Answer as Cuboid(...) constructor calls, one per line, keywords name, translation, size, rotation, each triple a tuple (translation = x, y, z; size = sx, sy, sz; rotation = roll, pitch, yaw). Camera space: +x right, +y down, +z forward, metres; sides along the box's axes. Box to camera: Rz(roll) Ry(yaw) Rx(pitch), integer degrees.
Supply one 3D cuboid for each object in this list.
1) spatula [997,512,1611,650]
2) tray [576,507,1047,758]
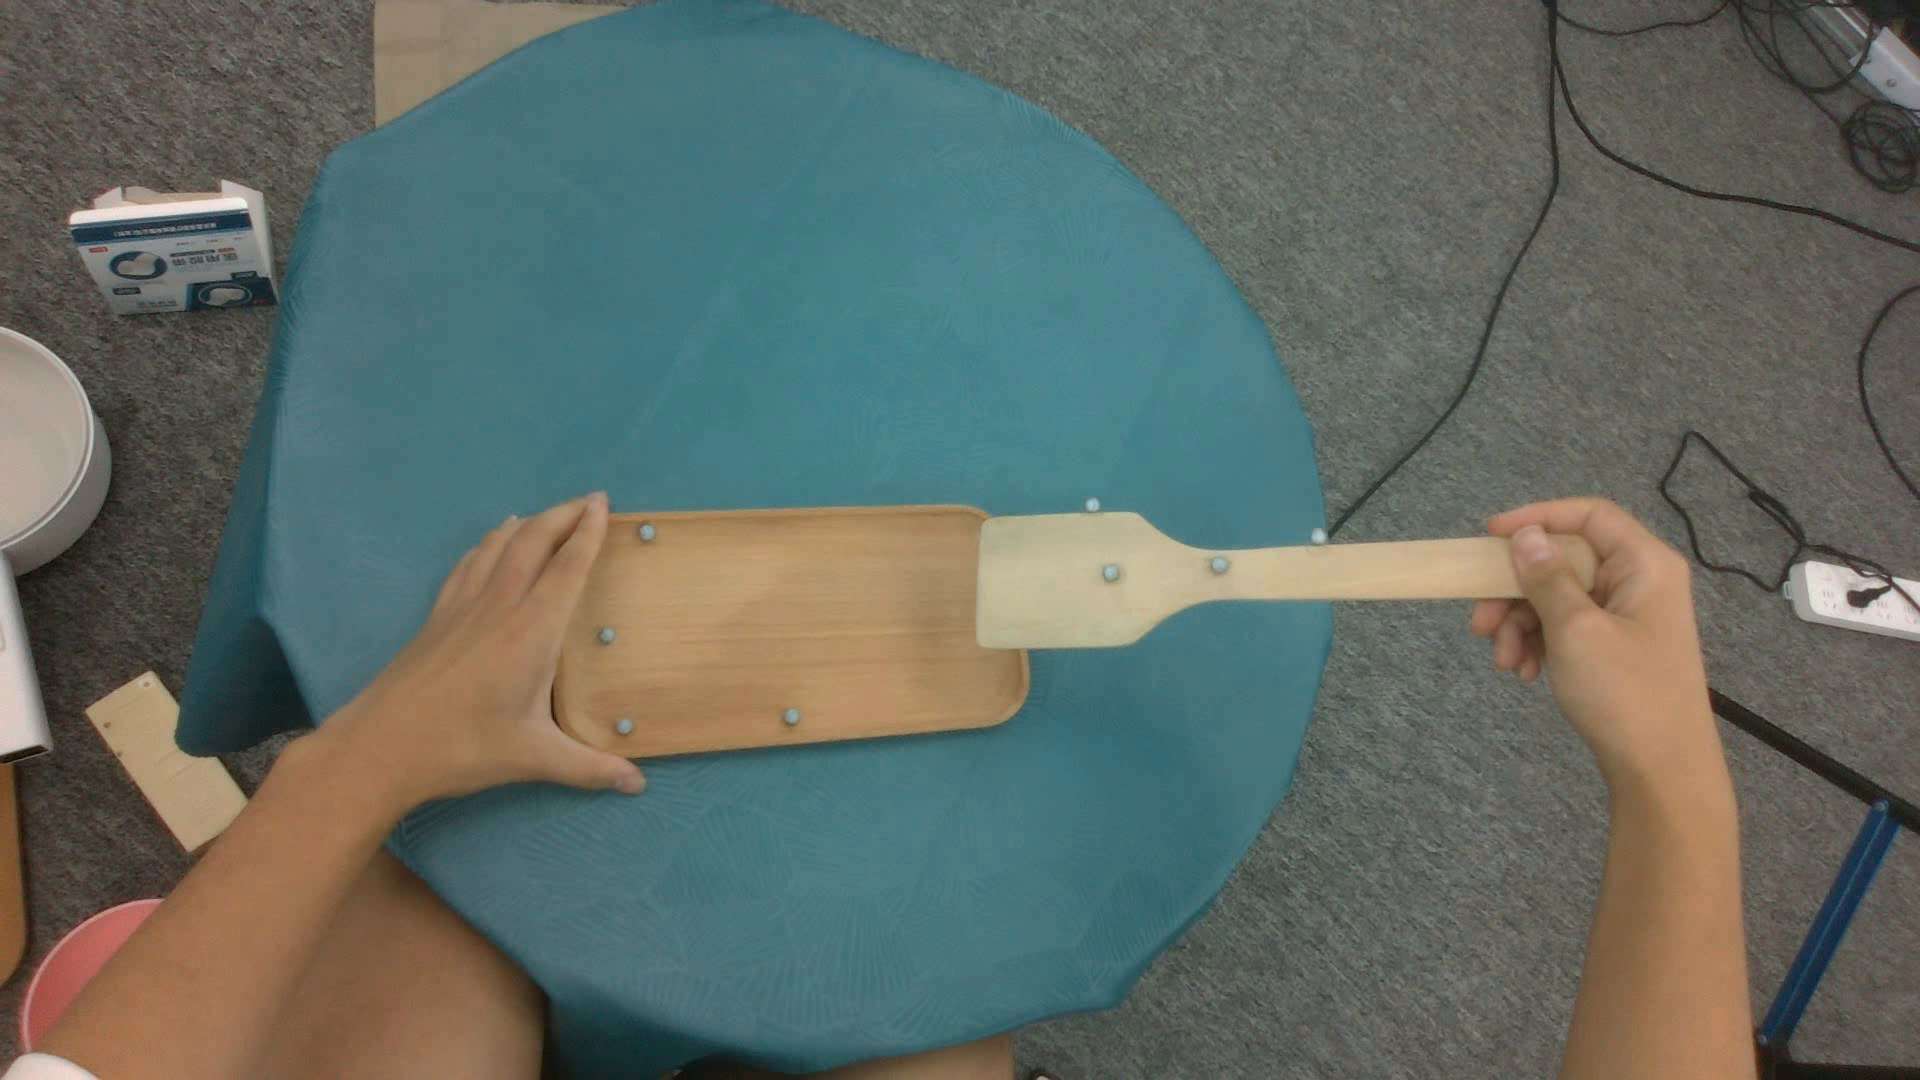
Cuboid(name="spatula", translation=(0.155, 0.015, 0.668), size=(0.292, 0.010, 0.072), rotation=(-3, 76, 24))
Cuboid(name="tray", translation=(-0.077, 0.047, 0.745), size=(0.251, 0.023, 0.131), rotation=(-1, 75, -18))
